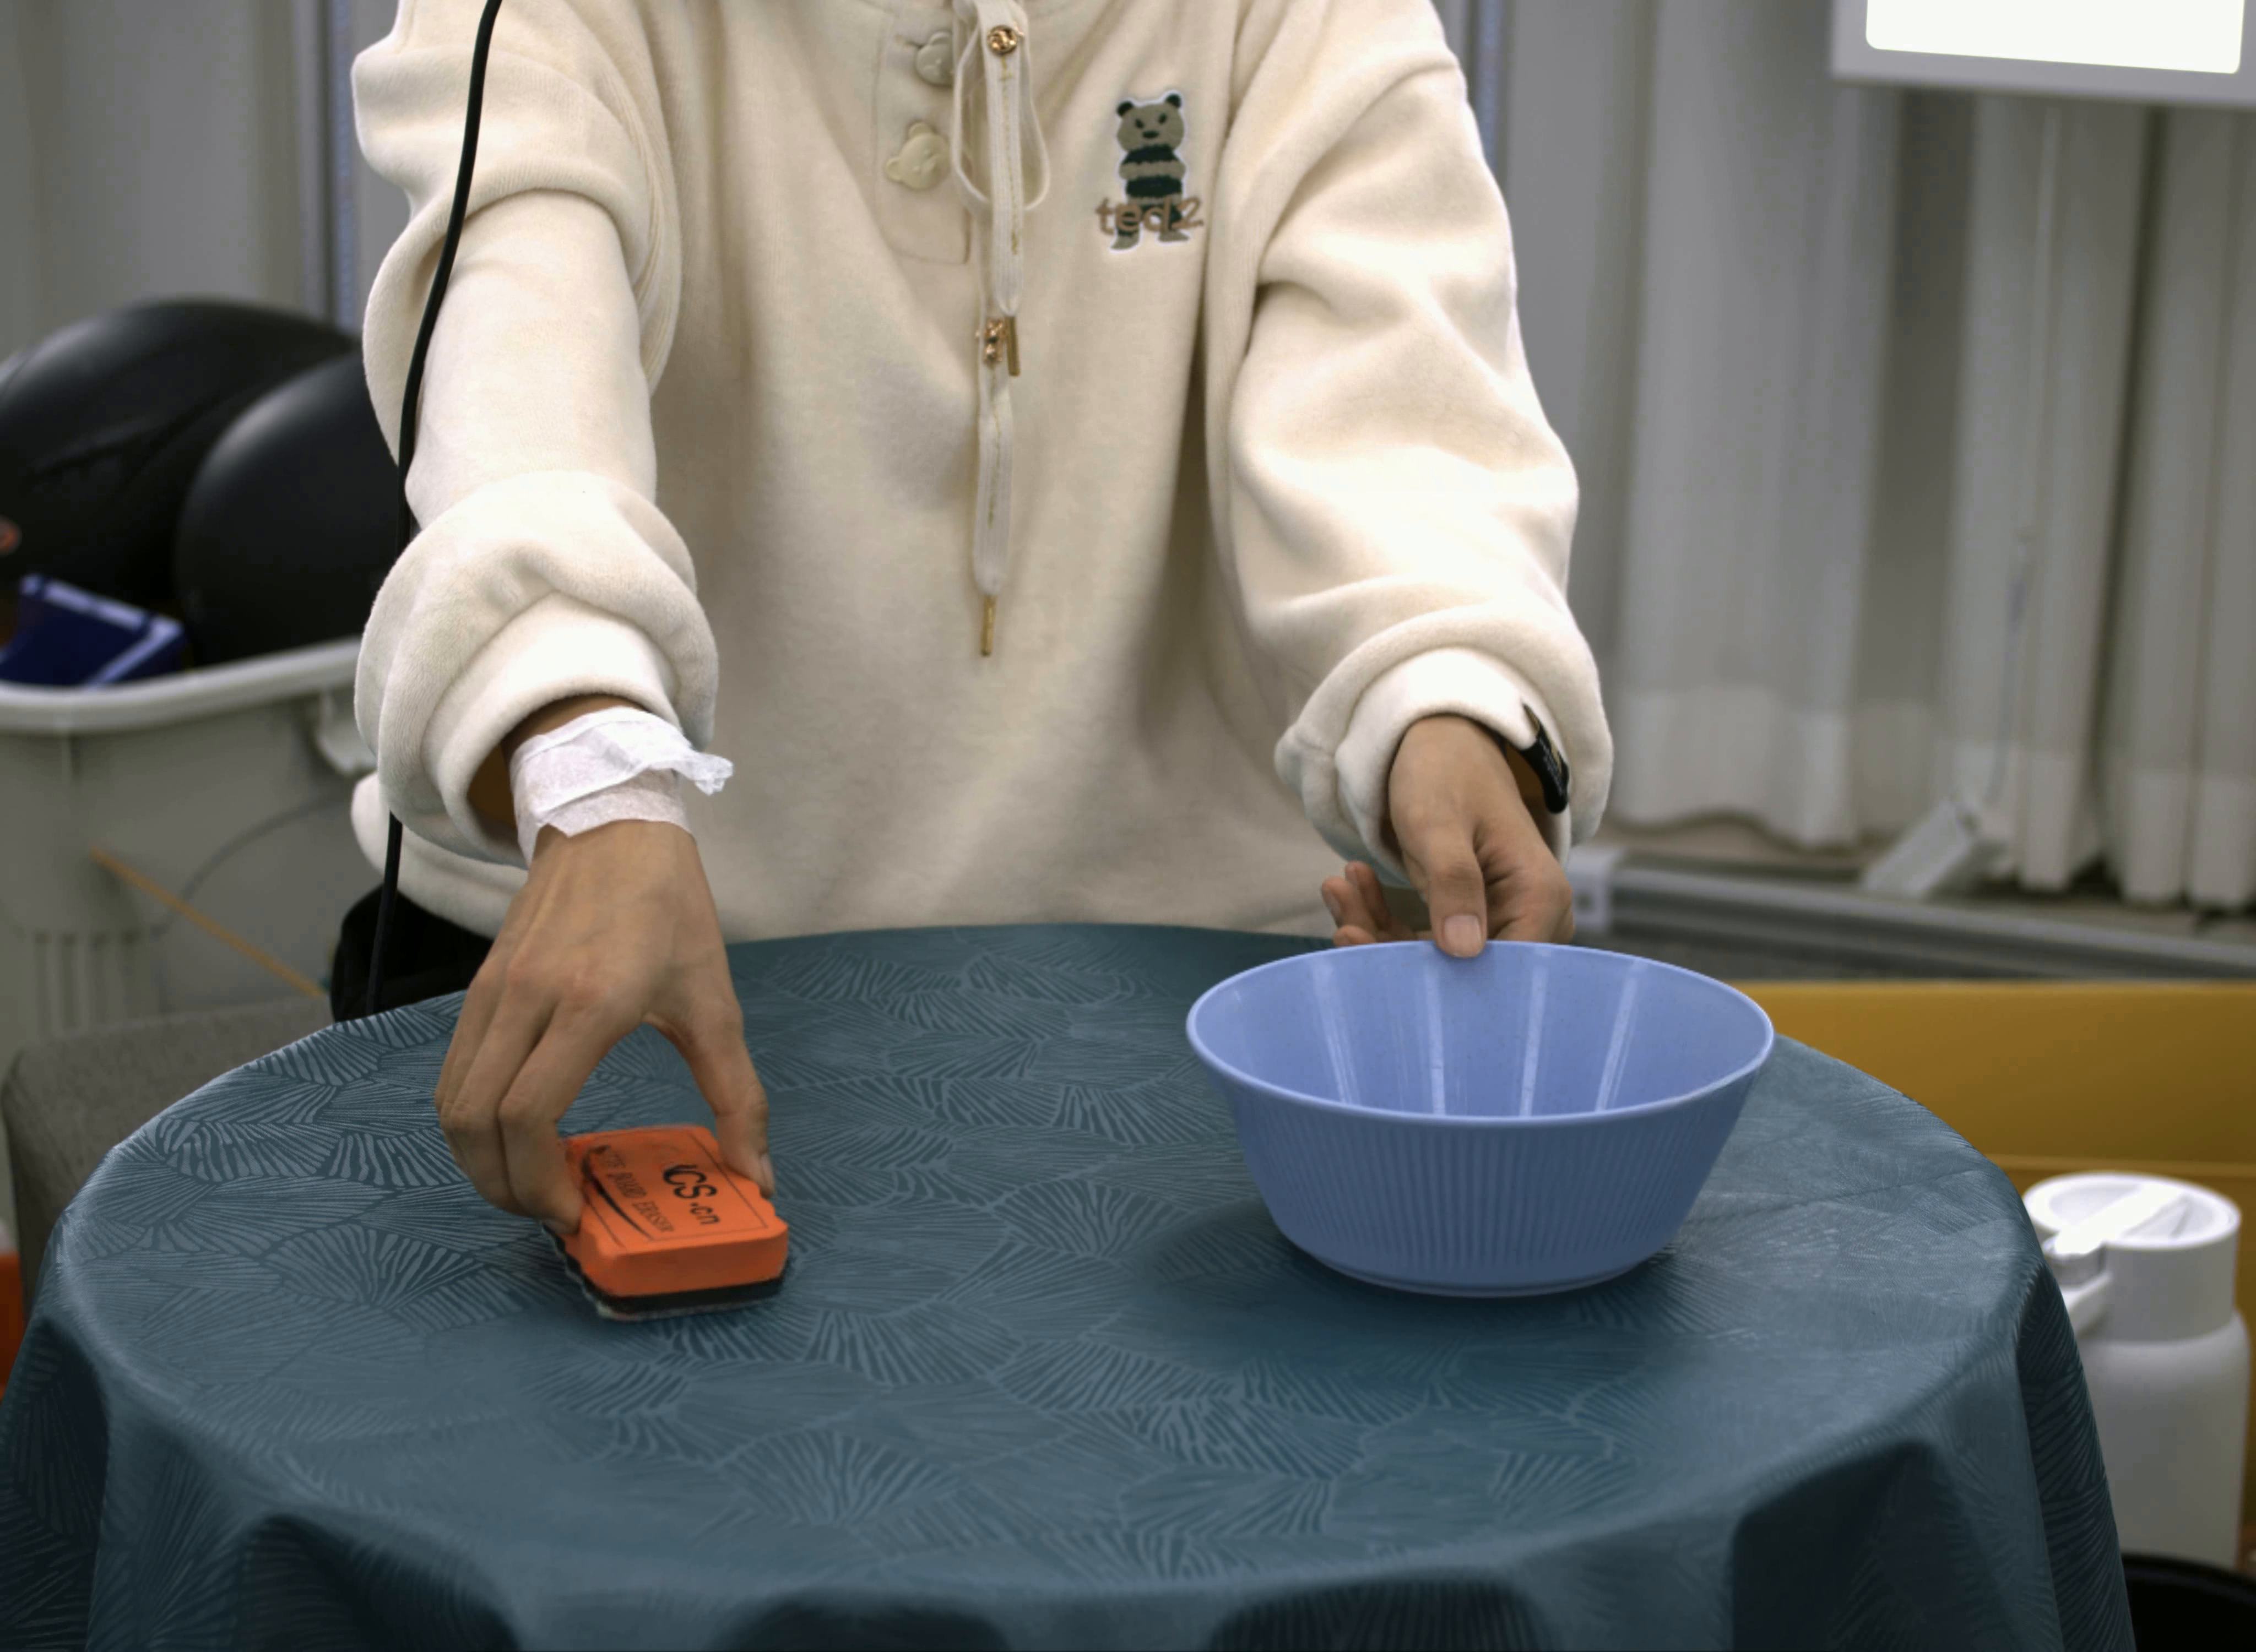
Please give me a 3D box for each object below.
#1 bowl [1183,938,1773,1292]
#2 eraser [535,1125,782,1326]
[{"bbox_3d":[0.104,0.089,1.575,0.175,0.071,0.175,1,16,0],"label":"bowl"},{"bbox_3d":[-0.140,0.117,1.557,0.059,0.023,0.107,-6,17,-15],"label":"eraser"}]
